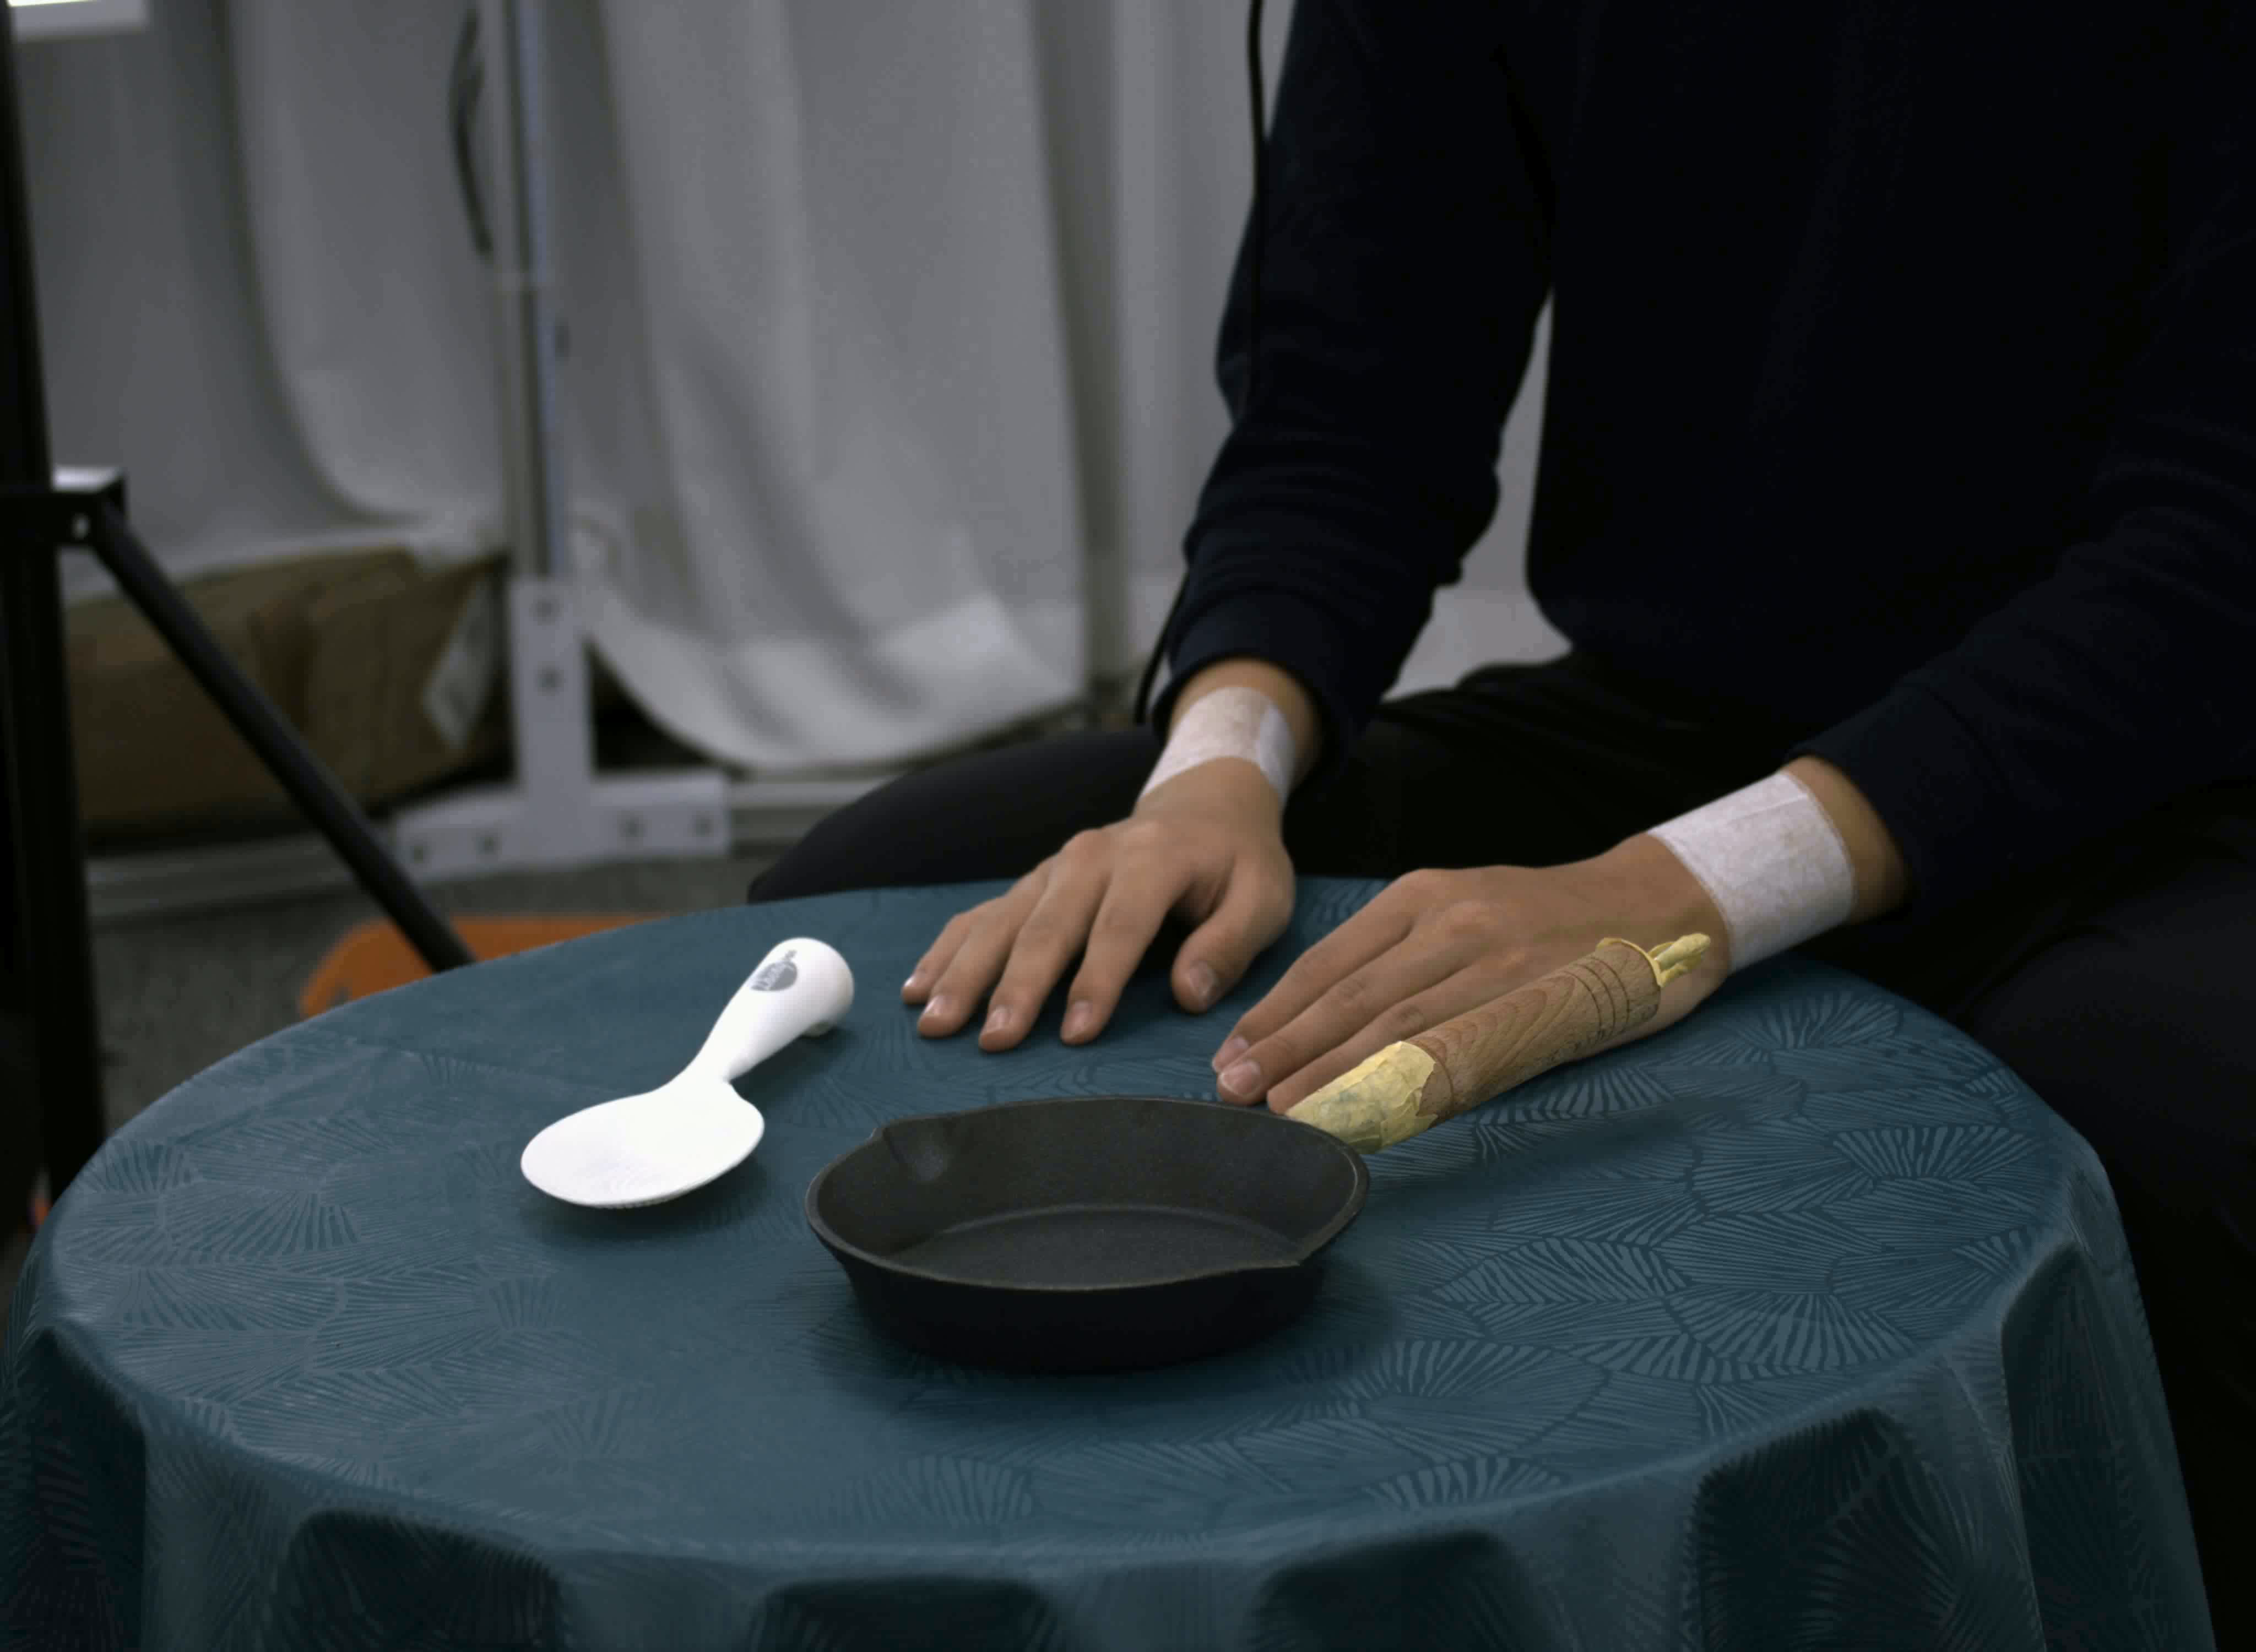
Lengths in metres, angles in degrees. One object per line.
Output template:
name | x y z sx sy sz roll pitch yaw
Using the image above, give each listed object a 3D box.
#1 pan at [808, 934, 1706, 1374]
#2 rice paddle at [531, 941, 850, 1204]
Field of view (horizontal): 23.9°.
pan | 0.054 0.090 1.521 0.317 0.049 0.173 -16 20 -36
rice paddle | -0.127 0.078 1.632 0.069 0.029 0.204 0 15 14
